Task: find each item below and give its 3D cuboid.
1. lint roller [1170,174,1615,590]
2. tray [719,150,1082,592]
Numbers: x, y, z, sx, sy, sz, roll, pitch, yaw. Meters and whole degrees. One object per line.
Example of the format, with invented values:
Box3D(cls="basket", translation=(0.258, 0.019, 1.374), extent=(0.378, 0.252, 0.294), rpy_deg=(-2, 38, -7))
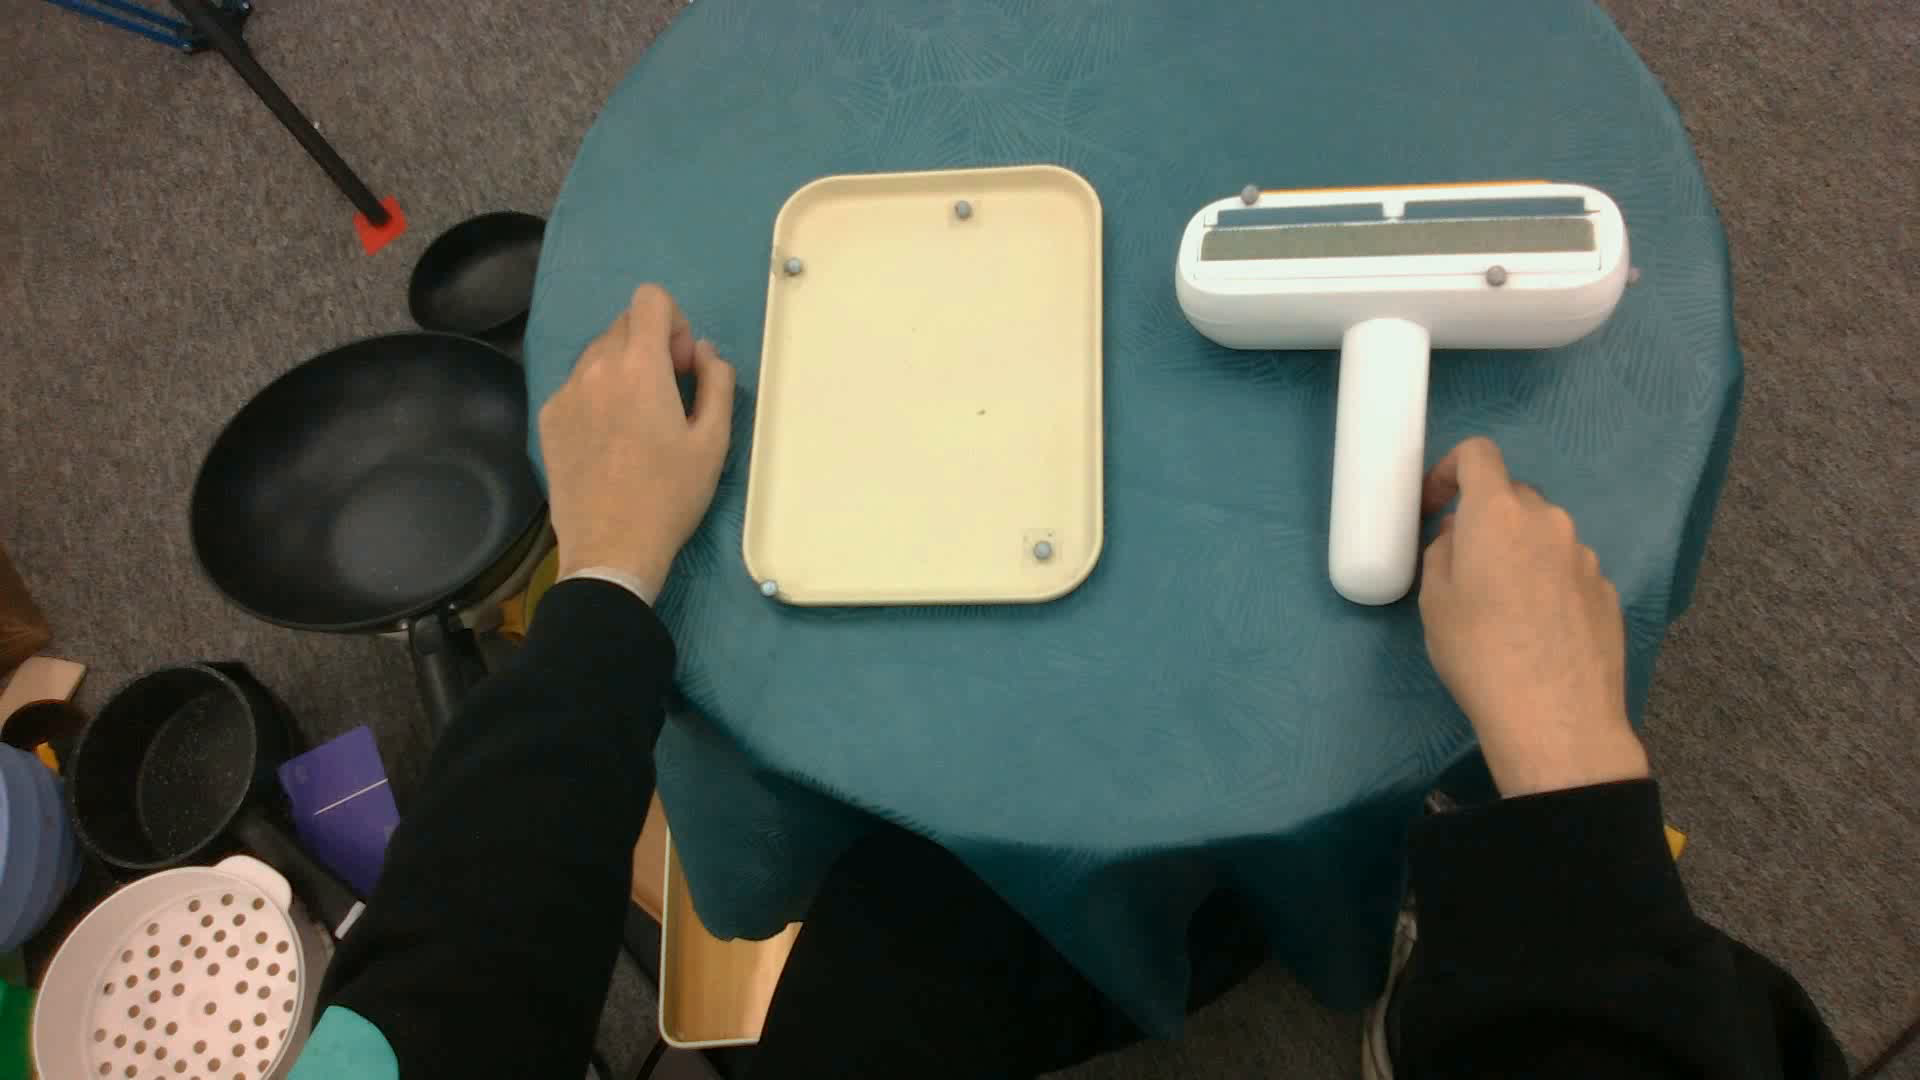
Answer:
Box3D(cls="lint roller", translation=(0.182, -0.074, 0.617), extent=(0.192, 0.074, 0.193), rpy_deg=(8, 70, 15))
Box3D(cls="tray", translation=(-0.026, -0.086, 0.674), extent=(0.171, 0.017, 0.240), rpy_deg=(0, 67, 6))
